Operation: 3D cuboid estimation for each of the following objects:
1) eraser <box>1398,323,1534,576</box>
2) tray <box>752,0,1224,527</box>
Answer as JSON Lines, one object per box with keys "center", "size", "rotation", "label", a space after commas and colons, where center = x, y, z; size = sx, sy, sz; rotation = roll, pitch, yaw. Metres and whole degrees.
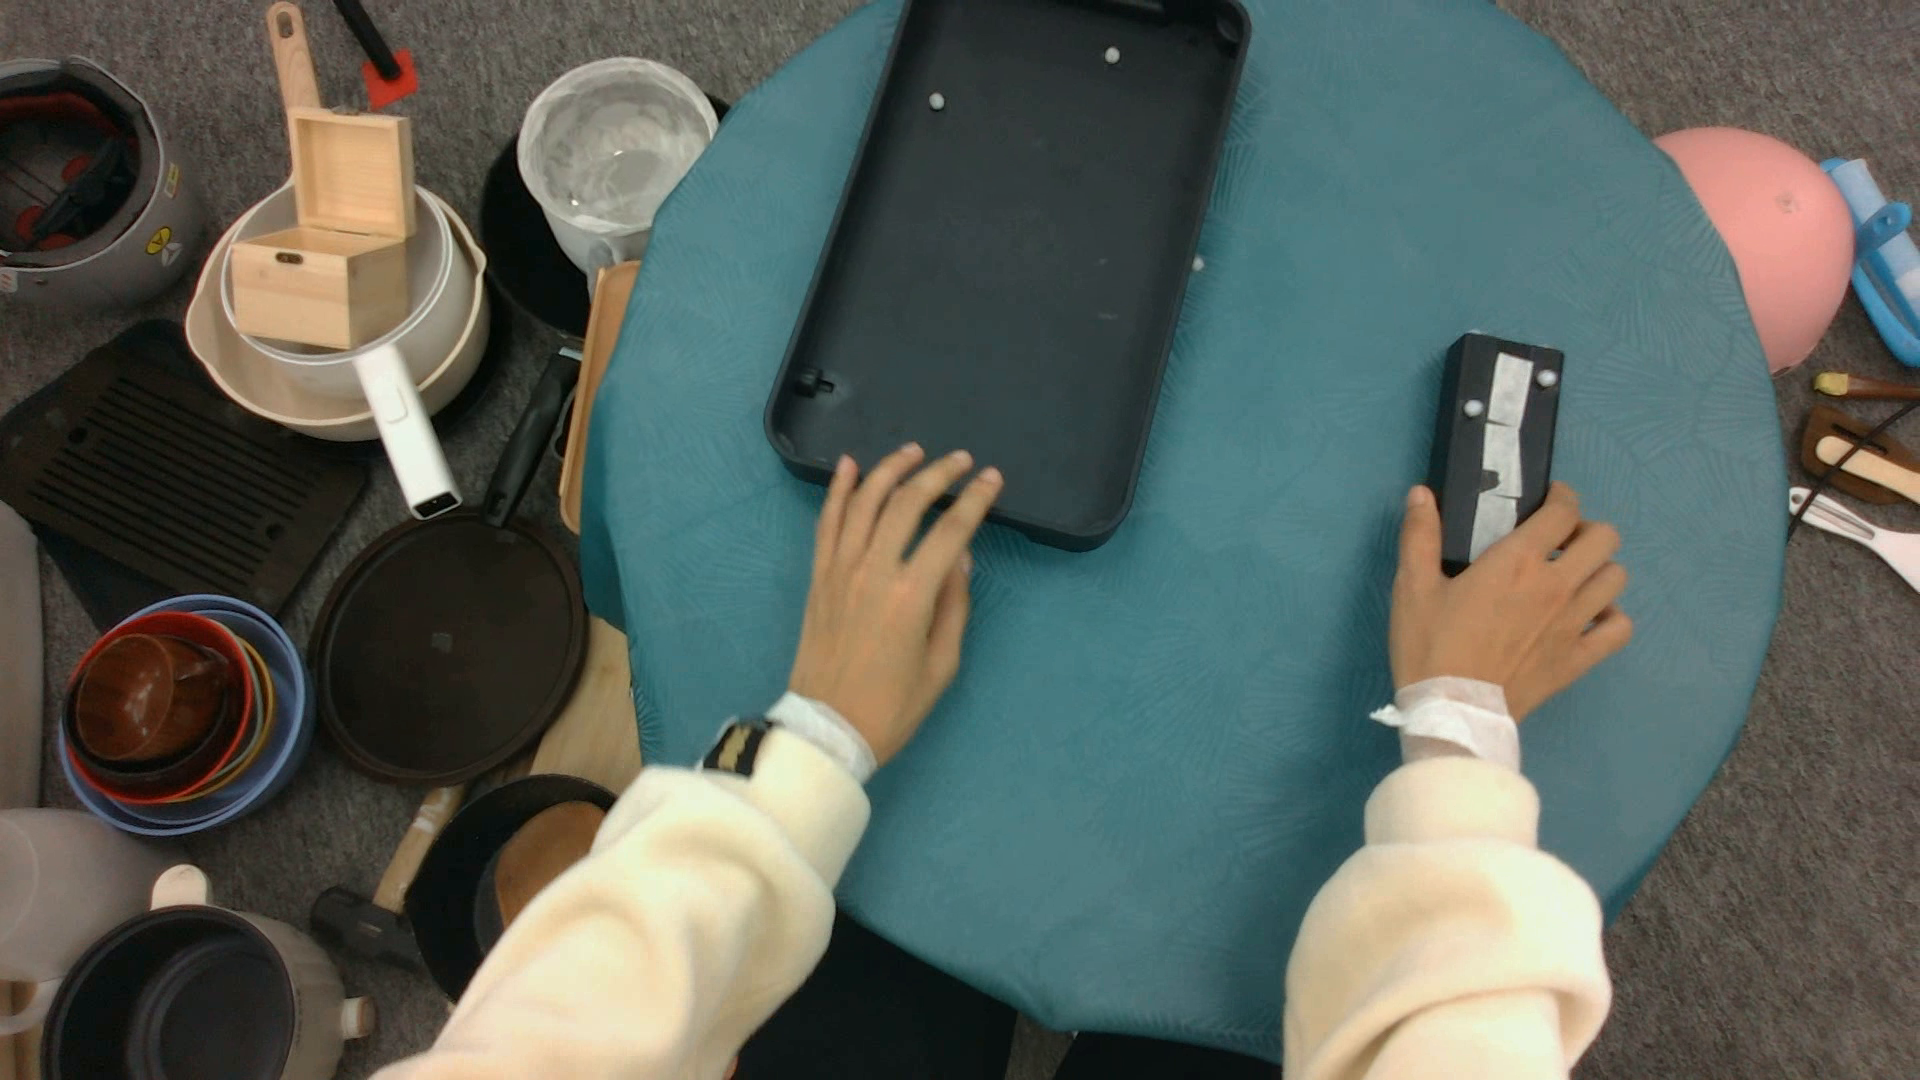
{"center": [0.251, -0.046, 0.684], "size": [0.053, 0.030, 0.126], "rotation": [10, 72, 7], "label": "eraser"}
{"center": [0.021, -0.171, 0.714], "size": [0.184, 0.037, 0.319], "rotation": [13, 72, 3], "label": "tray"}
